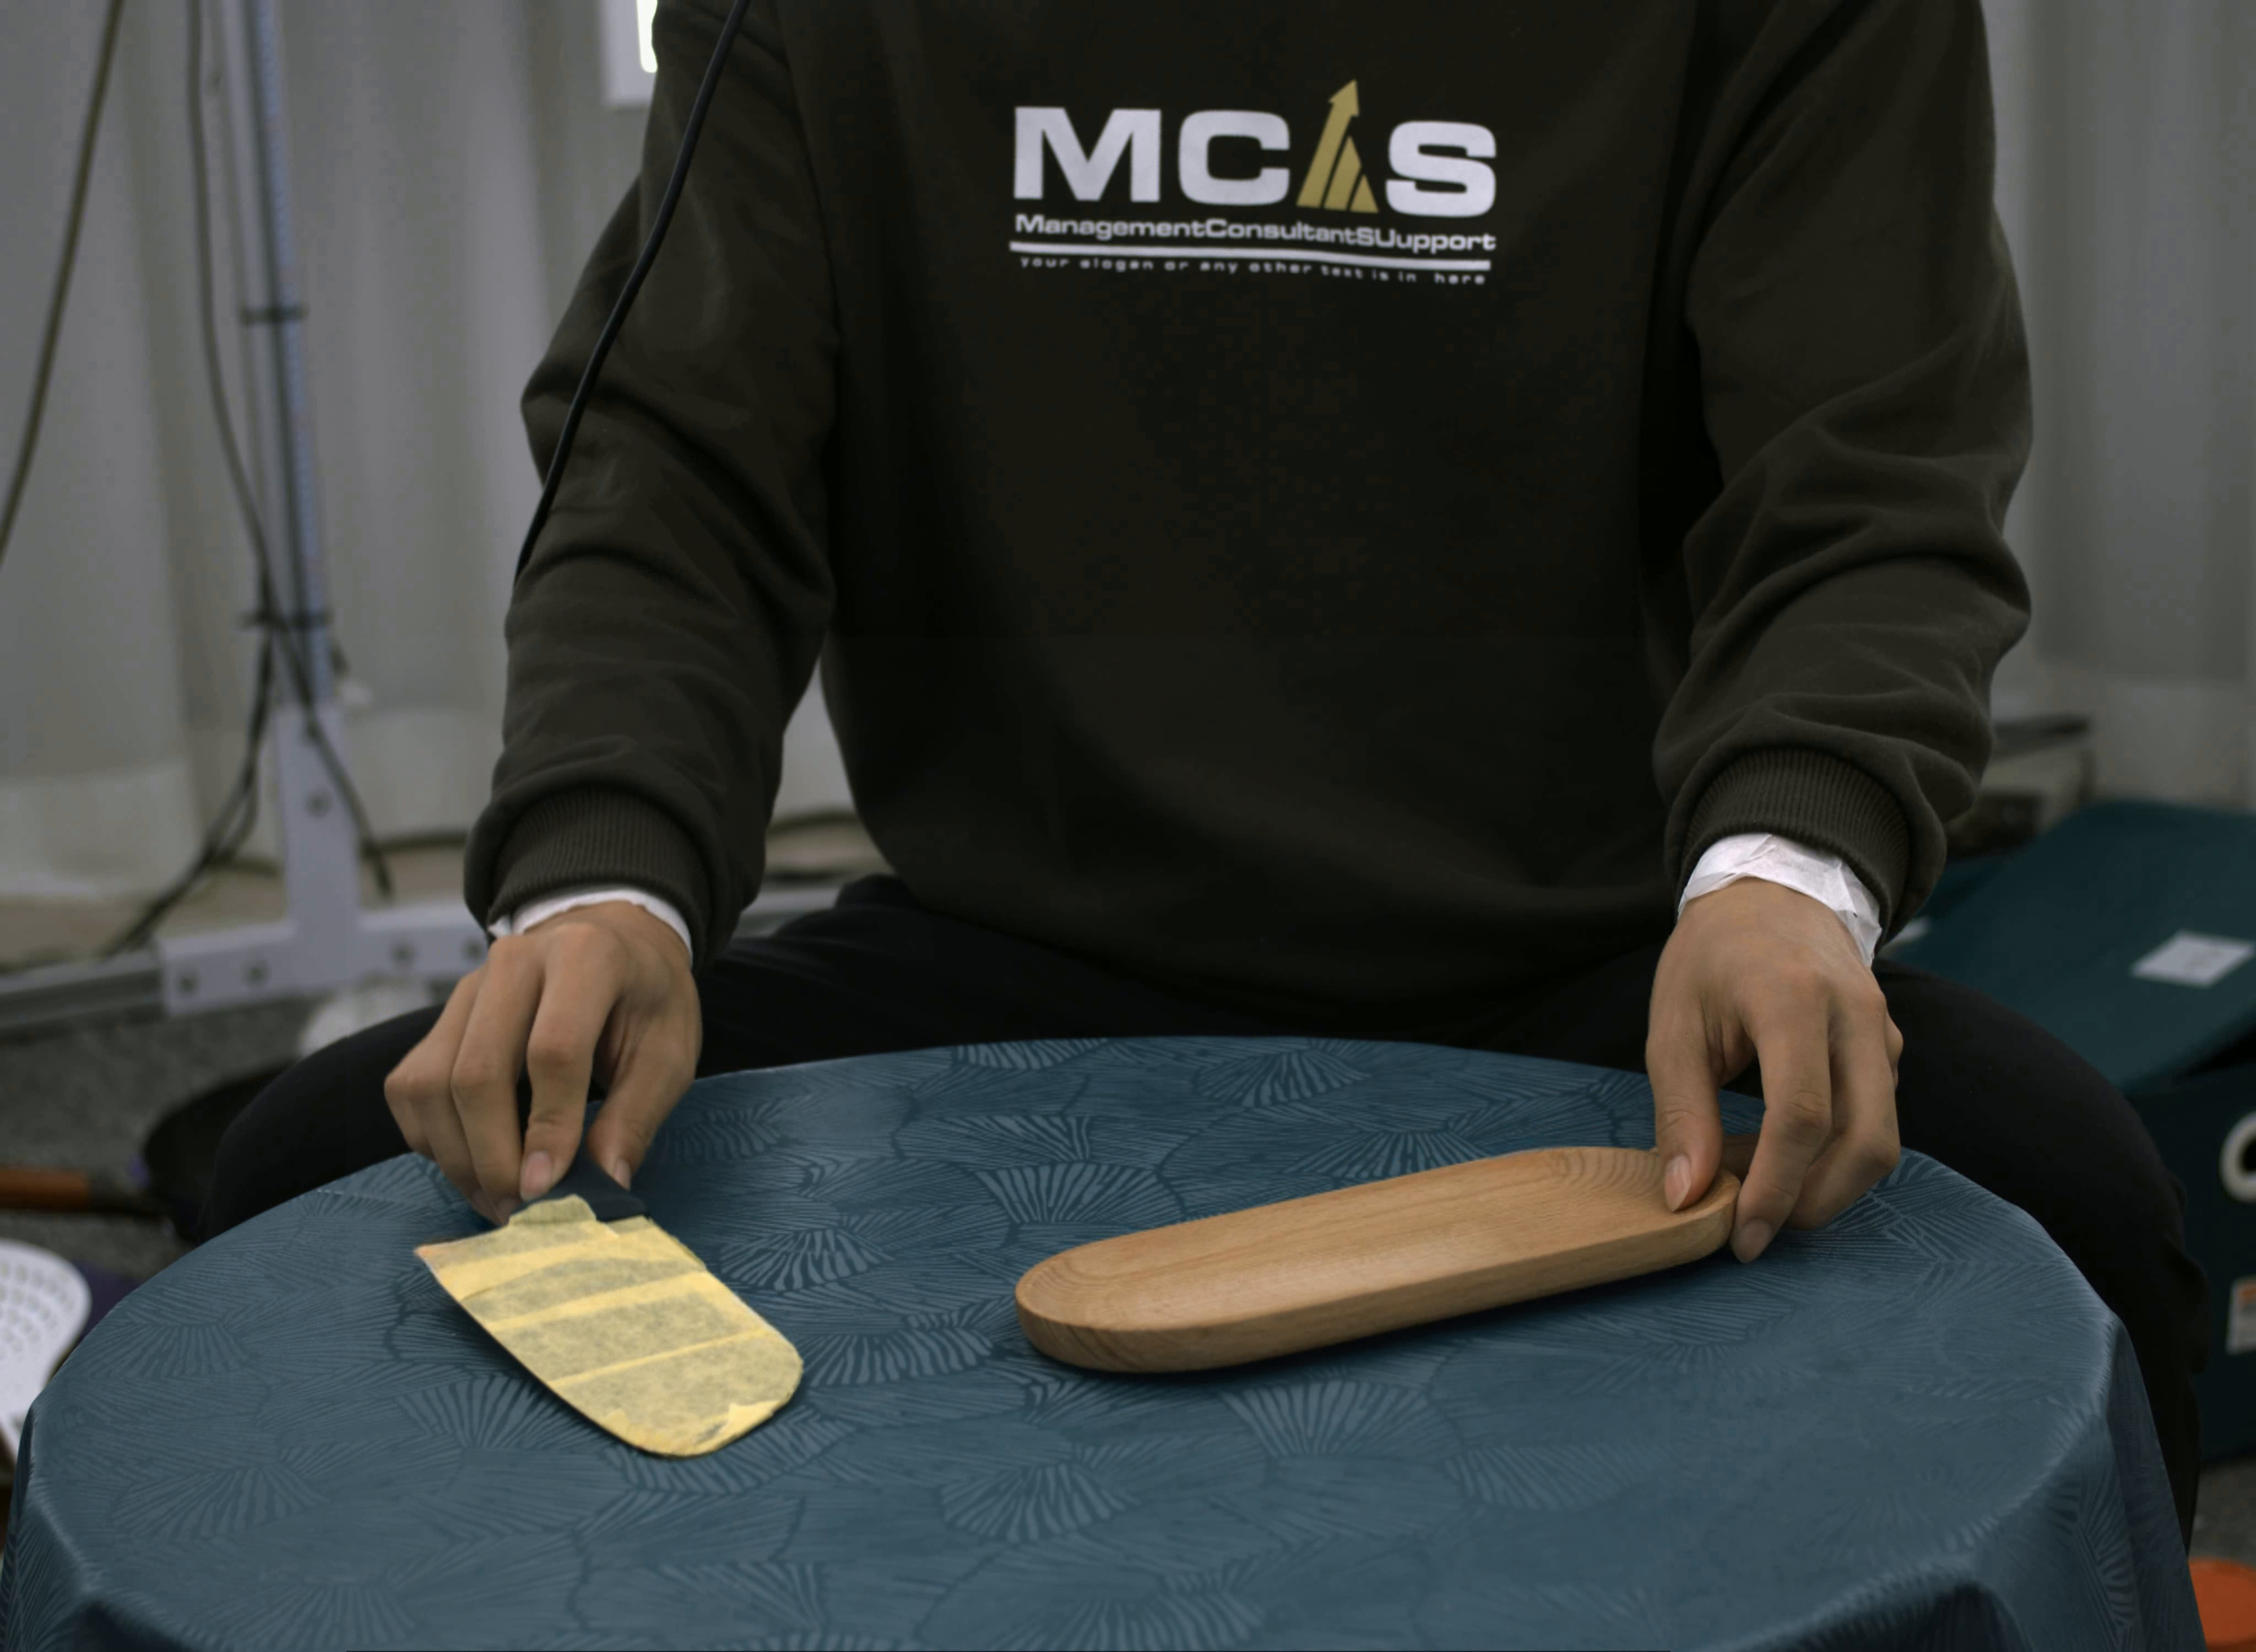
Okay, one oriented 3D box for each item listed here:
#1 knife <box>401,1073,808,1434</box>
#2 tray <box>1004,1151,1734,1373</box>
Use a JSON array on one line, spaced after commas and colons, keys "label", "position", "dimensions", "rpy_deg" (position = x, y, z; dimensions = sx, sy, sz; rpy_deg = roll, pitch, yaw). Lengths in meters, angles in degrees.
[{"label": "knife", "position": [-0.172, 0.129, 1.642], "dimensions": [0.080, 0.027, 0.292], "rpy_deg": [-7, 19, -24]}, {"label": "tray", "position": [0.073, 0.128, 1.614], "dimensions": [0.230, 0.020, 0.102], "rpy_deg": [-11, 11, -24]}]
